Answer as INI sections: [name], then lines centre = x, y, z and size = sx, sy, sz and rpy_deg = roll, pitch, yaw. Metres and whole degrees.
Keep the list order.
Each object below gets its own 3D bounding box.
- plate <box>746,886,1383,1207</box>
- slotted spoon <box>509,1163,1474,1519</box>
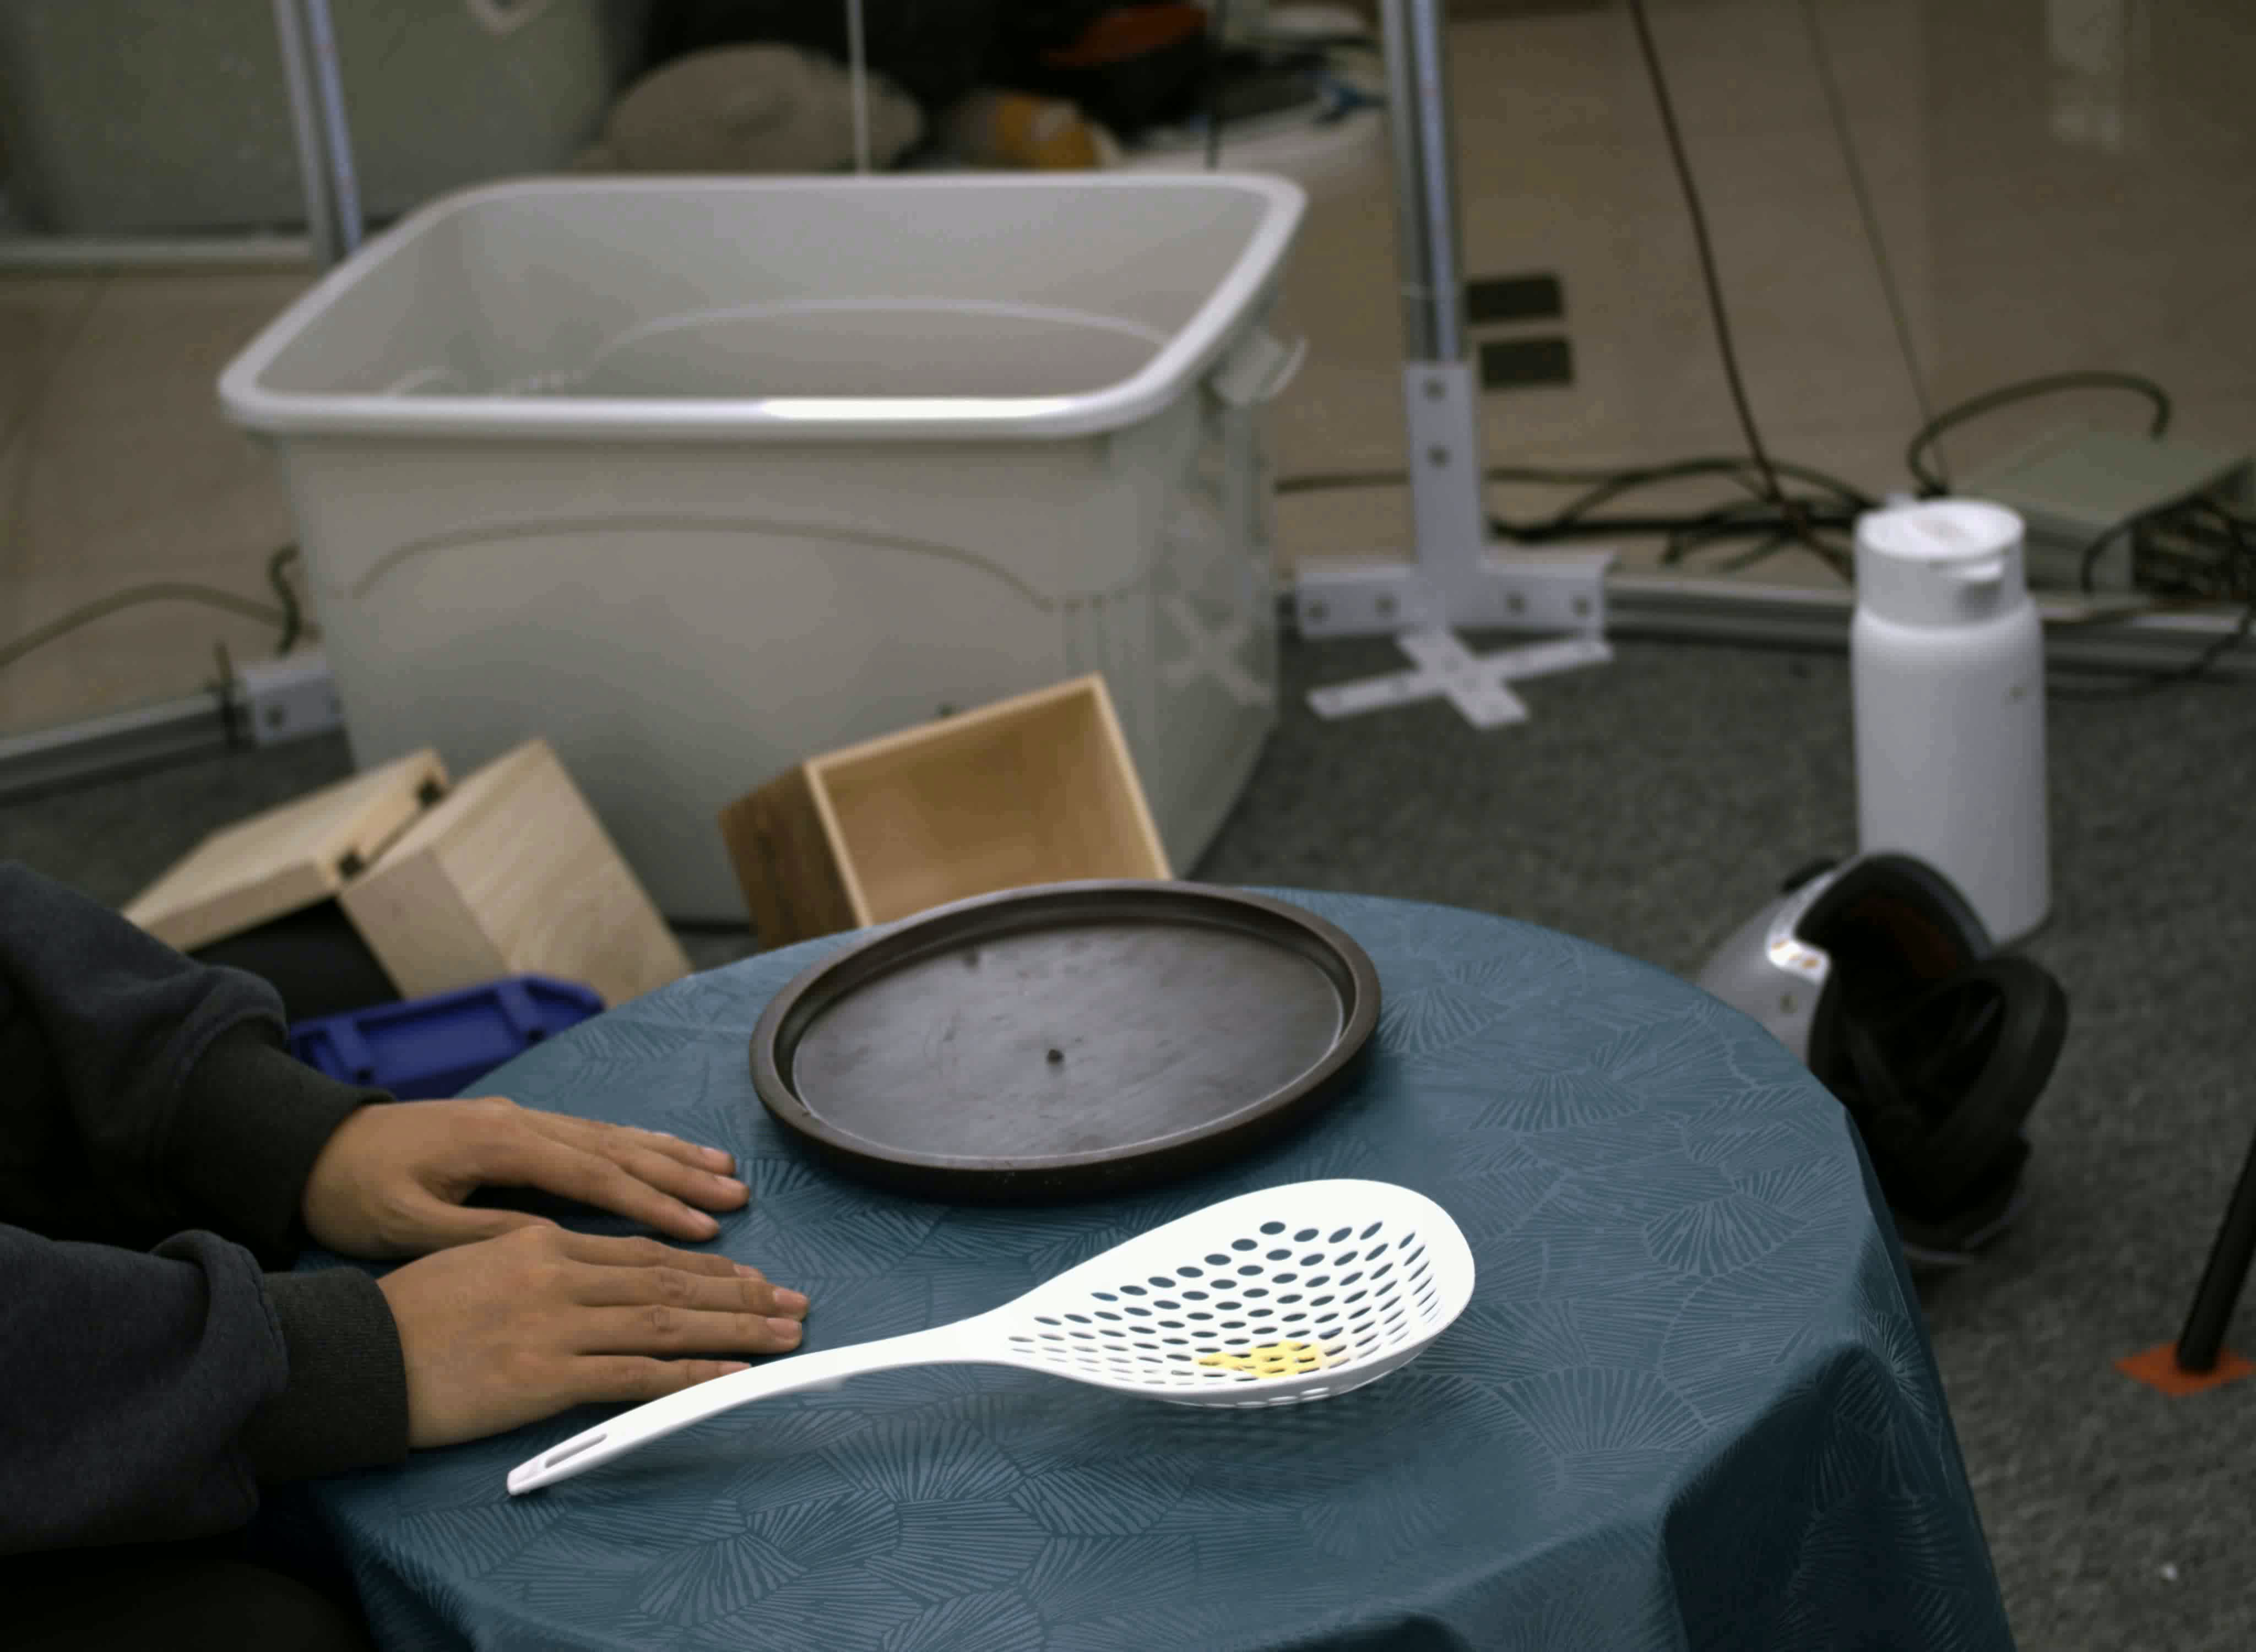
[plate]
centre = -0.025, 0.085, 2.241
size = 0.254, 0.029, 0.251
rpy_deg = -5, 26, 3
[slotted spoon]
centre = -0.049, 0.190, 1.999
size = 0.347, 0.051, 0.135
rpy_deg = -8, 27, -4
